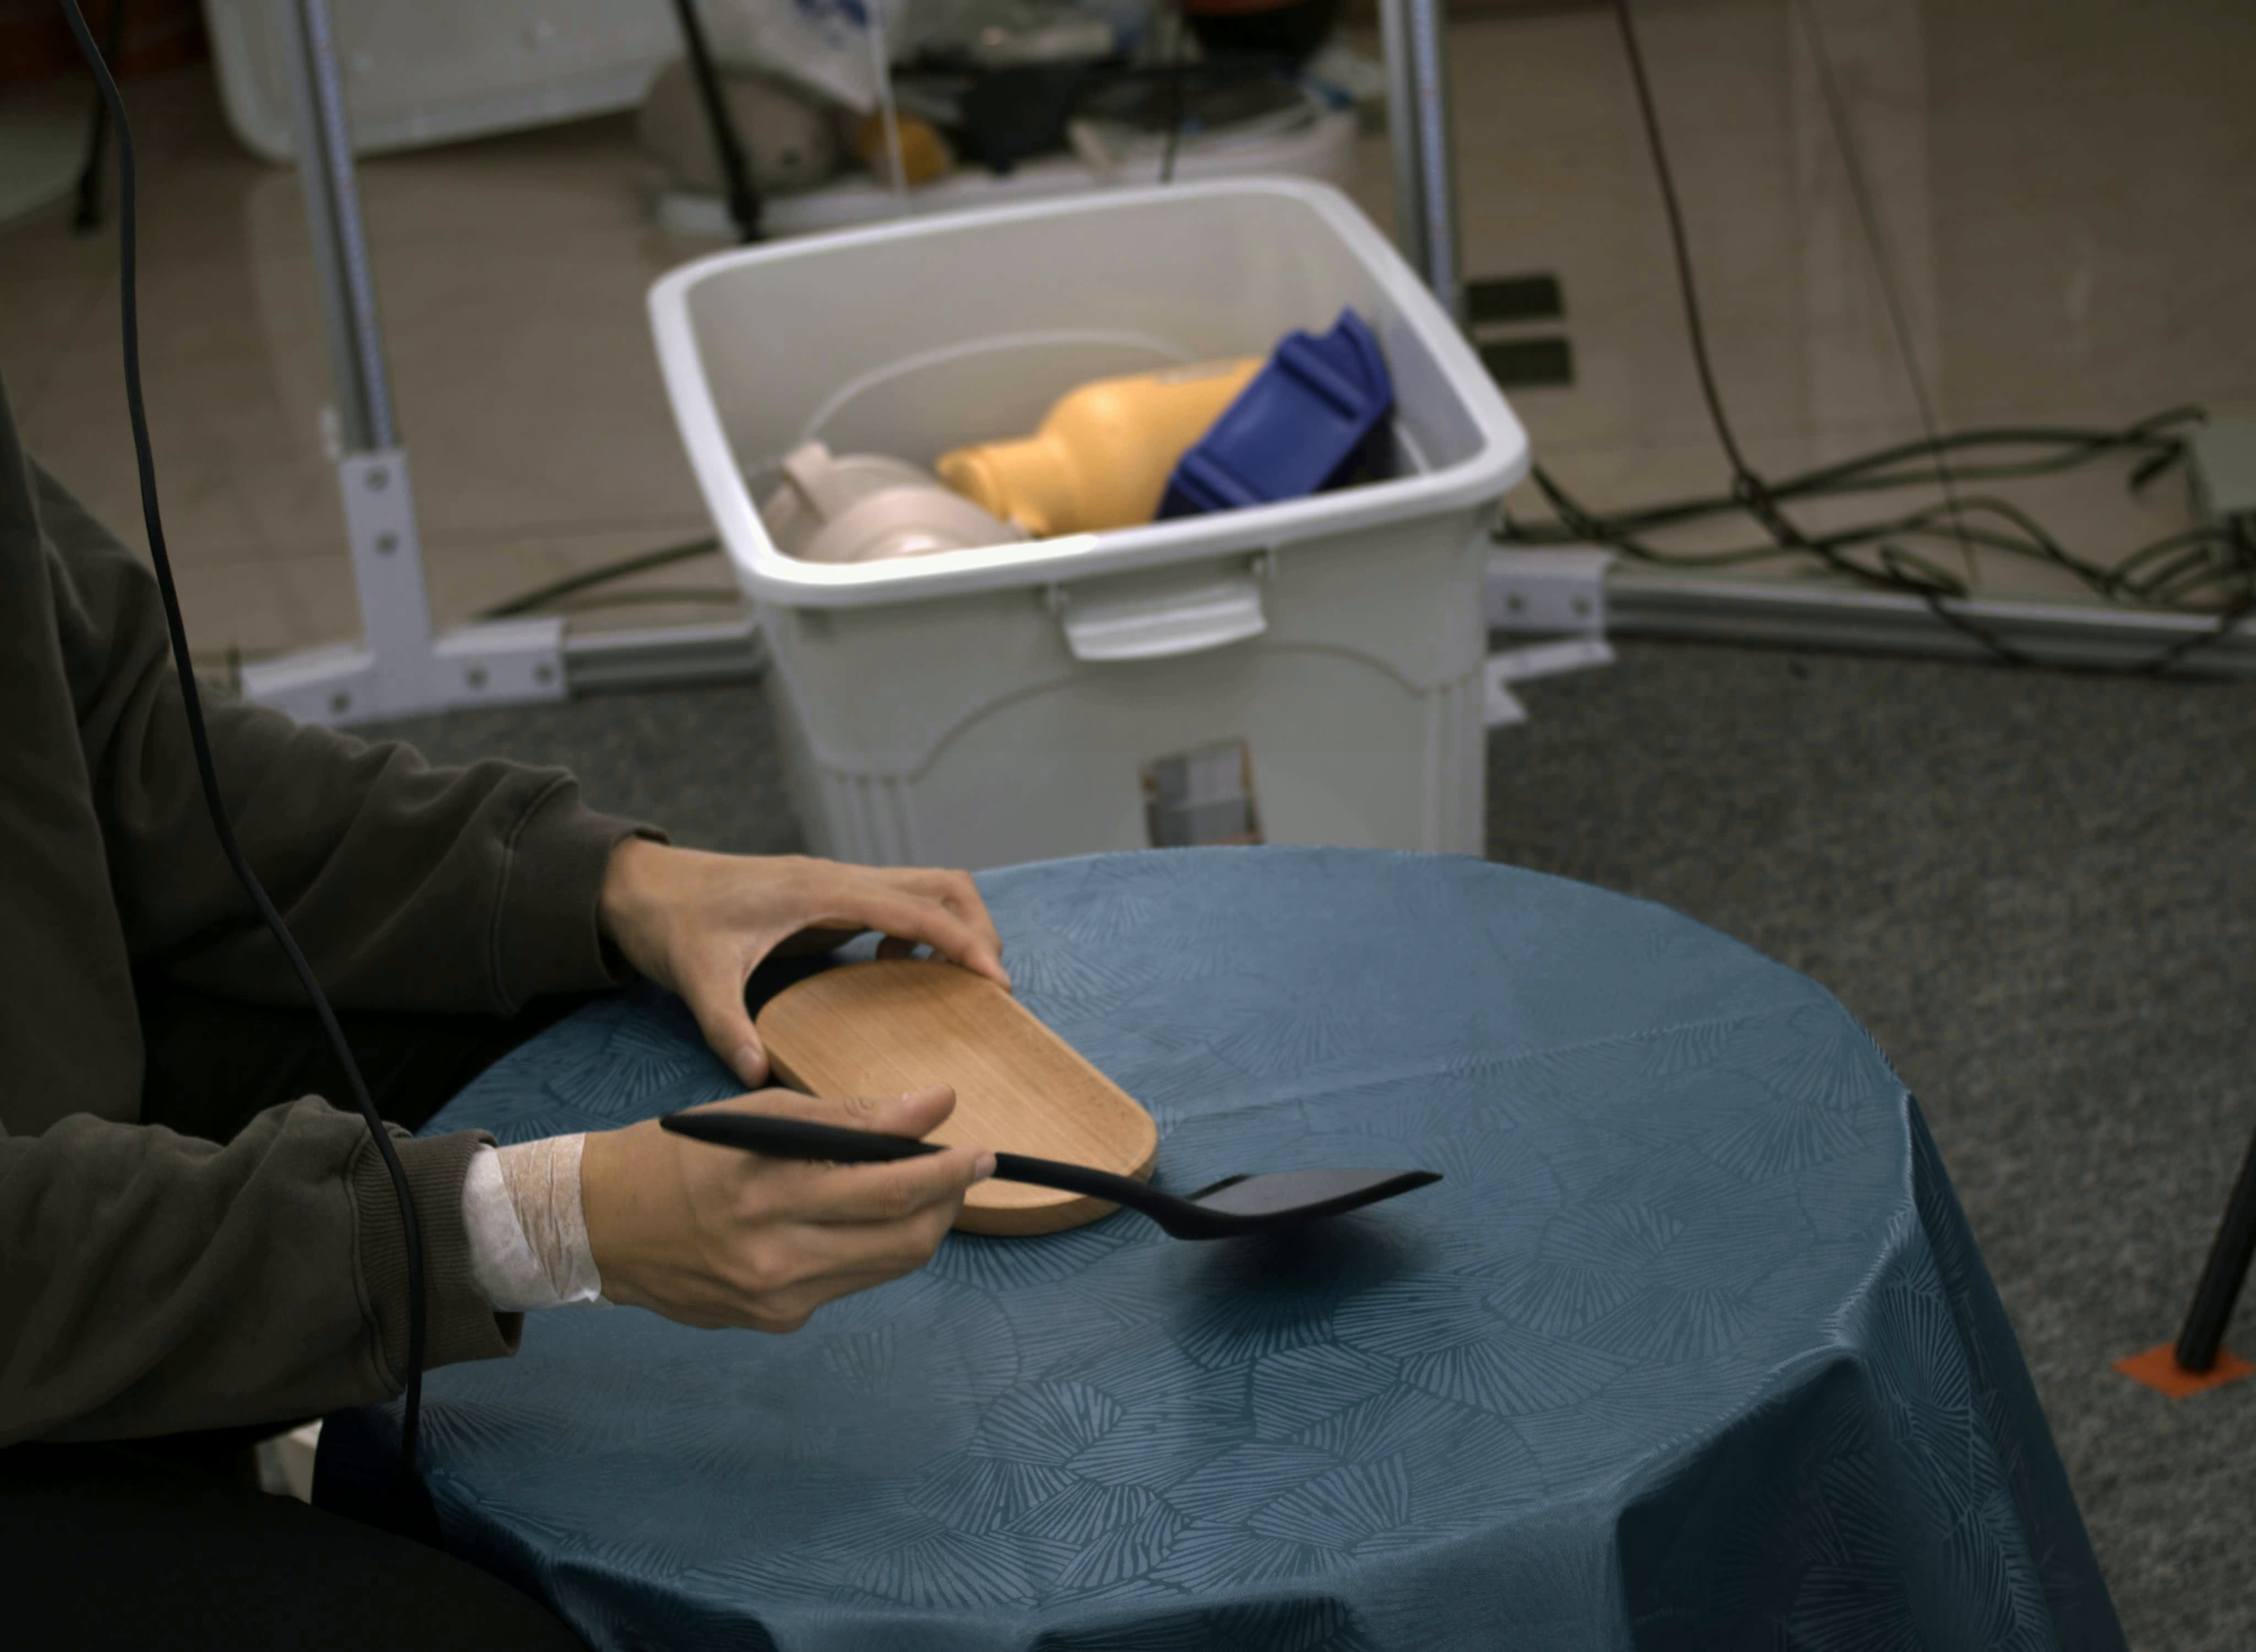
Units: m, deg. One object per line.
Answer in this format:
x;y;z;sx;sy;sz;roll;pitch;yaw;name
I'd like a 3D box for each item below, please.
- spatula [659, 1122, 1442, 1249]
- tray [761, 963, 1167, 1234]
-0.033;0.119;2.007;0.327;0.040;0.099;14;-11;-40;spatula
-0.066;0.105;2.214;0.101;0.020;0.228;-17;29;-23;tray
